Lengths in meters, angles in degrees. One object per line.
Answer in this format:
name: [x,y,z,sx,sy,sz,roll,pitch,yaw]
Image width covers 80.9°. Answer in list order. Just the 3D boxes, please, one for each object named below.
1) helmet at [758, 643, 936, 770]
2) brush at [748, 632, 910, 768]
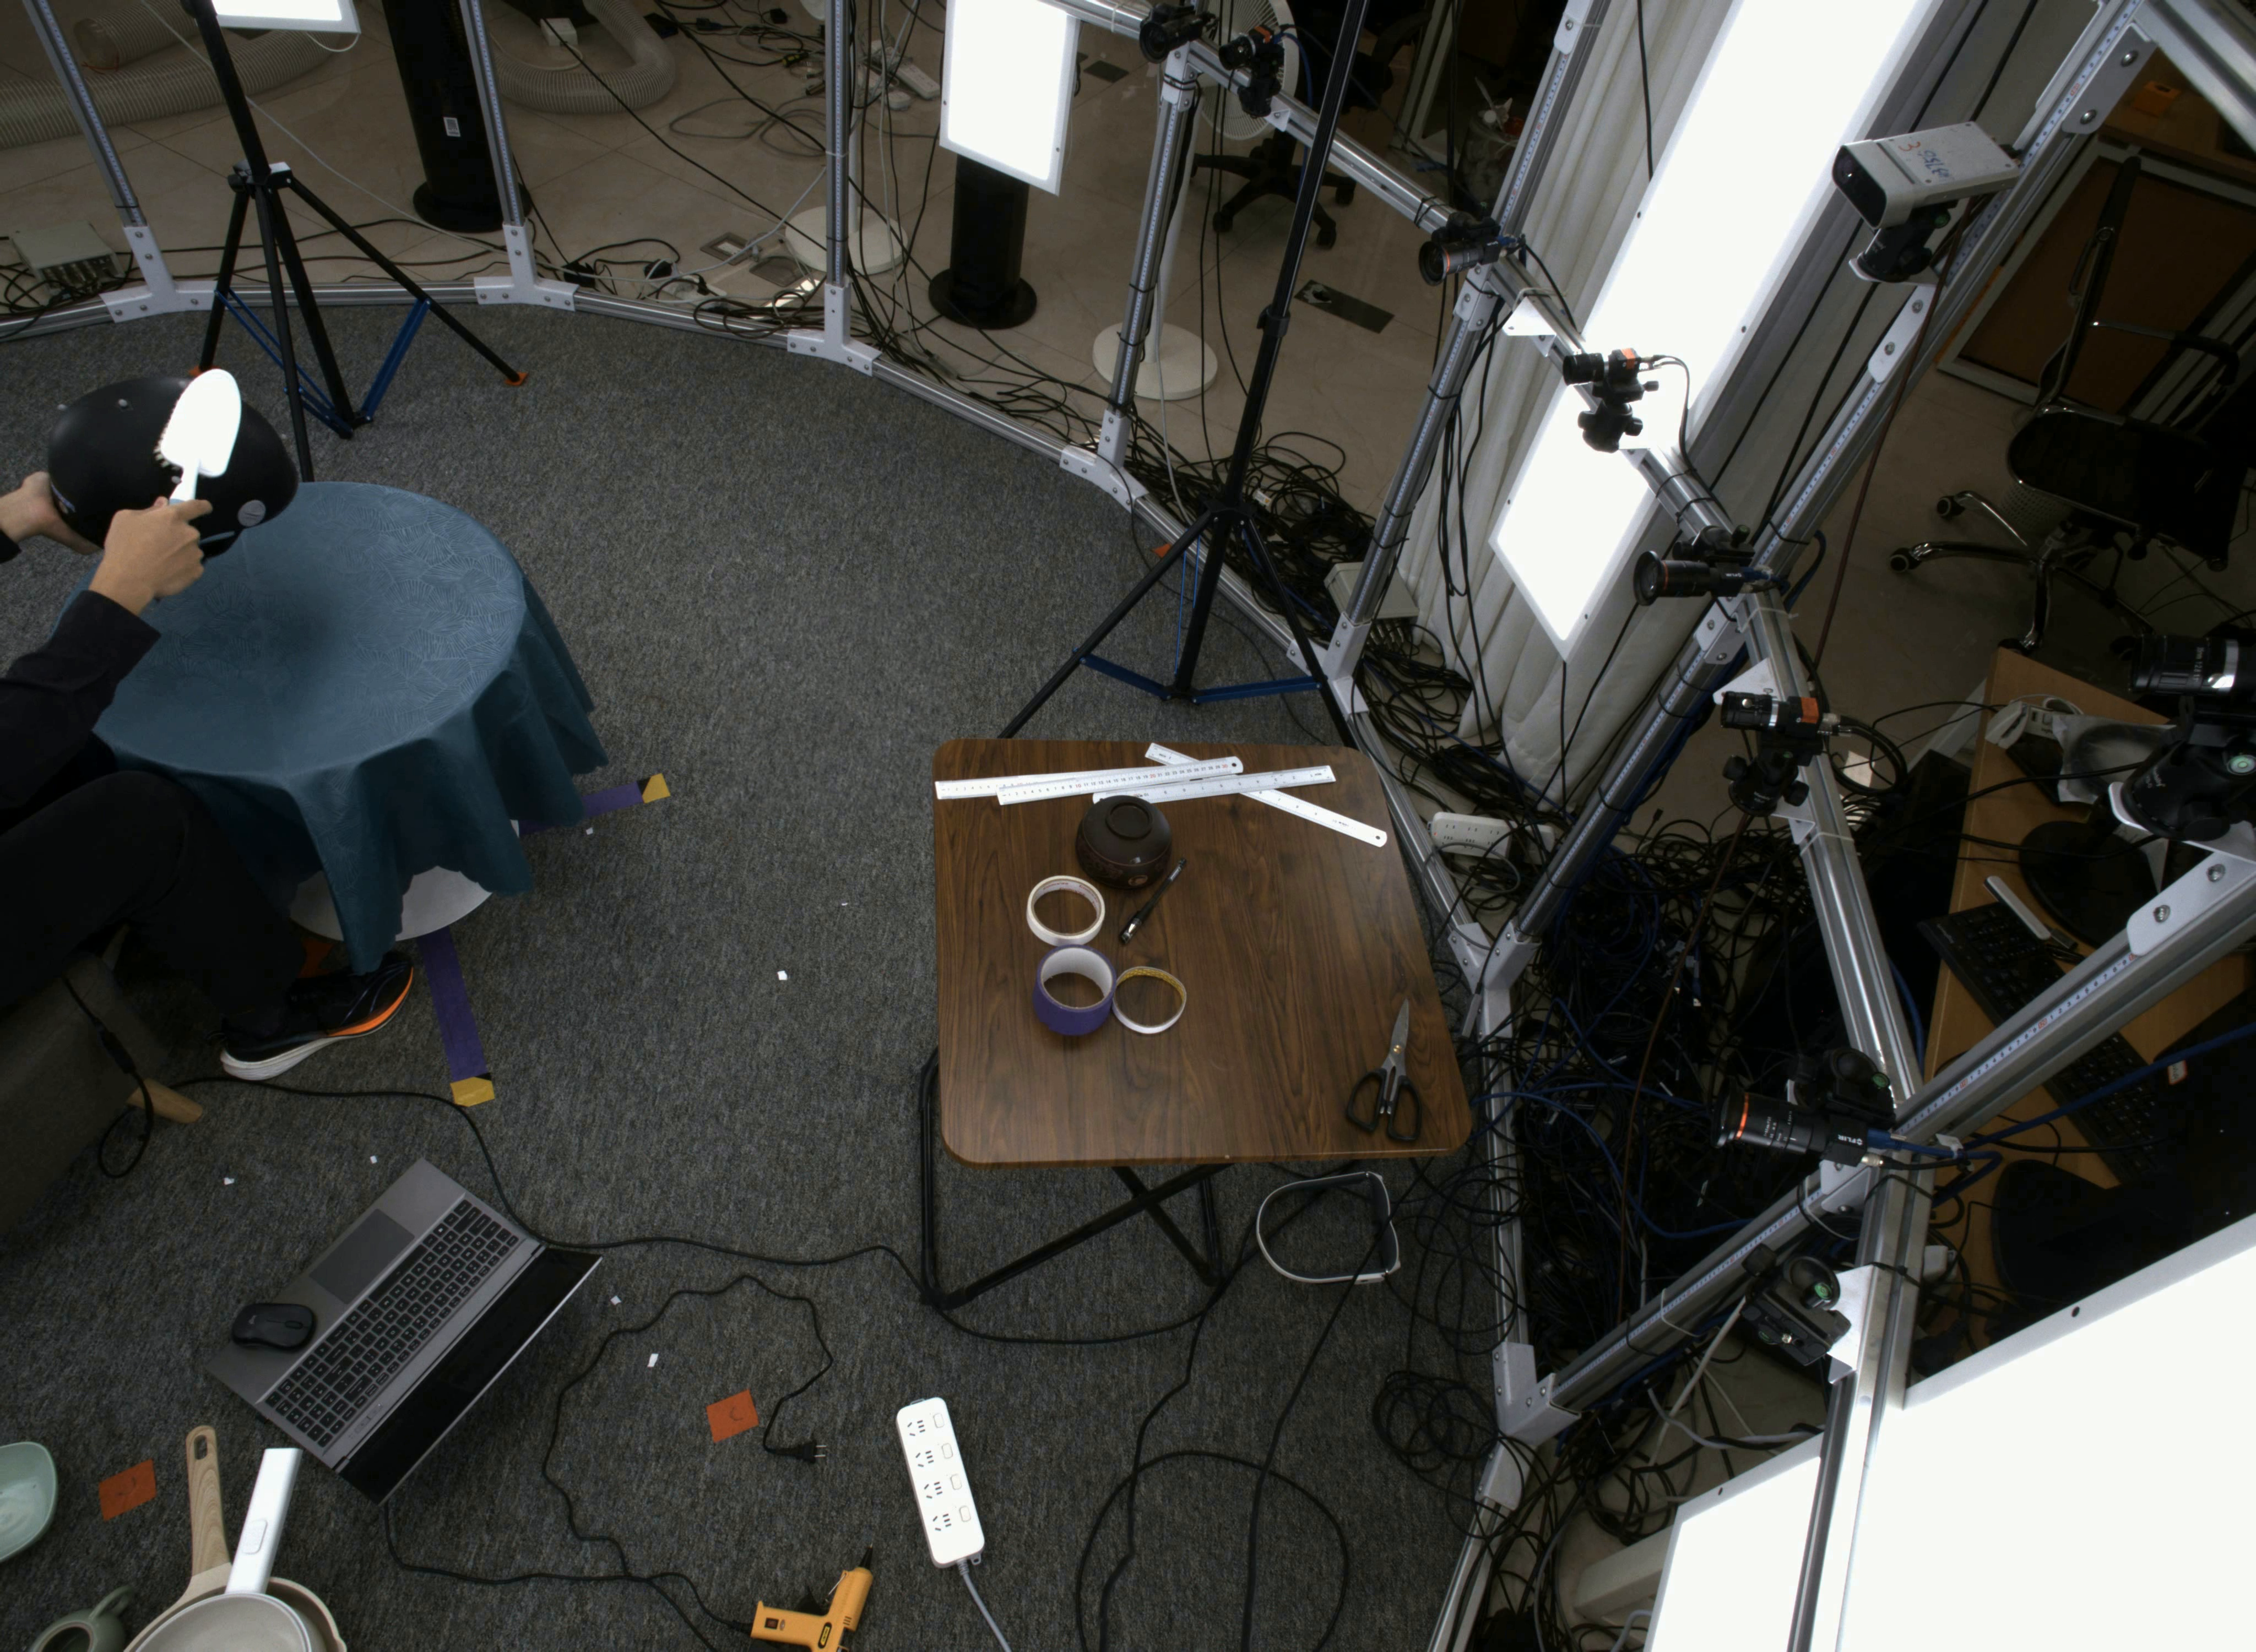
helmet: [-0.429,-0.191,1.987,0.274,0.171,0.223,0,33,-15]
brush: [-0.429,-0.172,1.841,0.080,0.087,0.325,22,50,26]
